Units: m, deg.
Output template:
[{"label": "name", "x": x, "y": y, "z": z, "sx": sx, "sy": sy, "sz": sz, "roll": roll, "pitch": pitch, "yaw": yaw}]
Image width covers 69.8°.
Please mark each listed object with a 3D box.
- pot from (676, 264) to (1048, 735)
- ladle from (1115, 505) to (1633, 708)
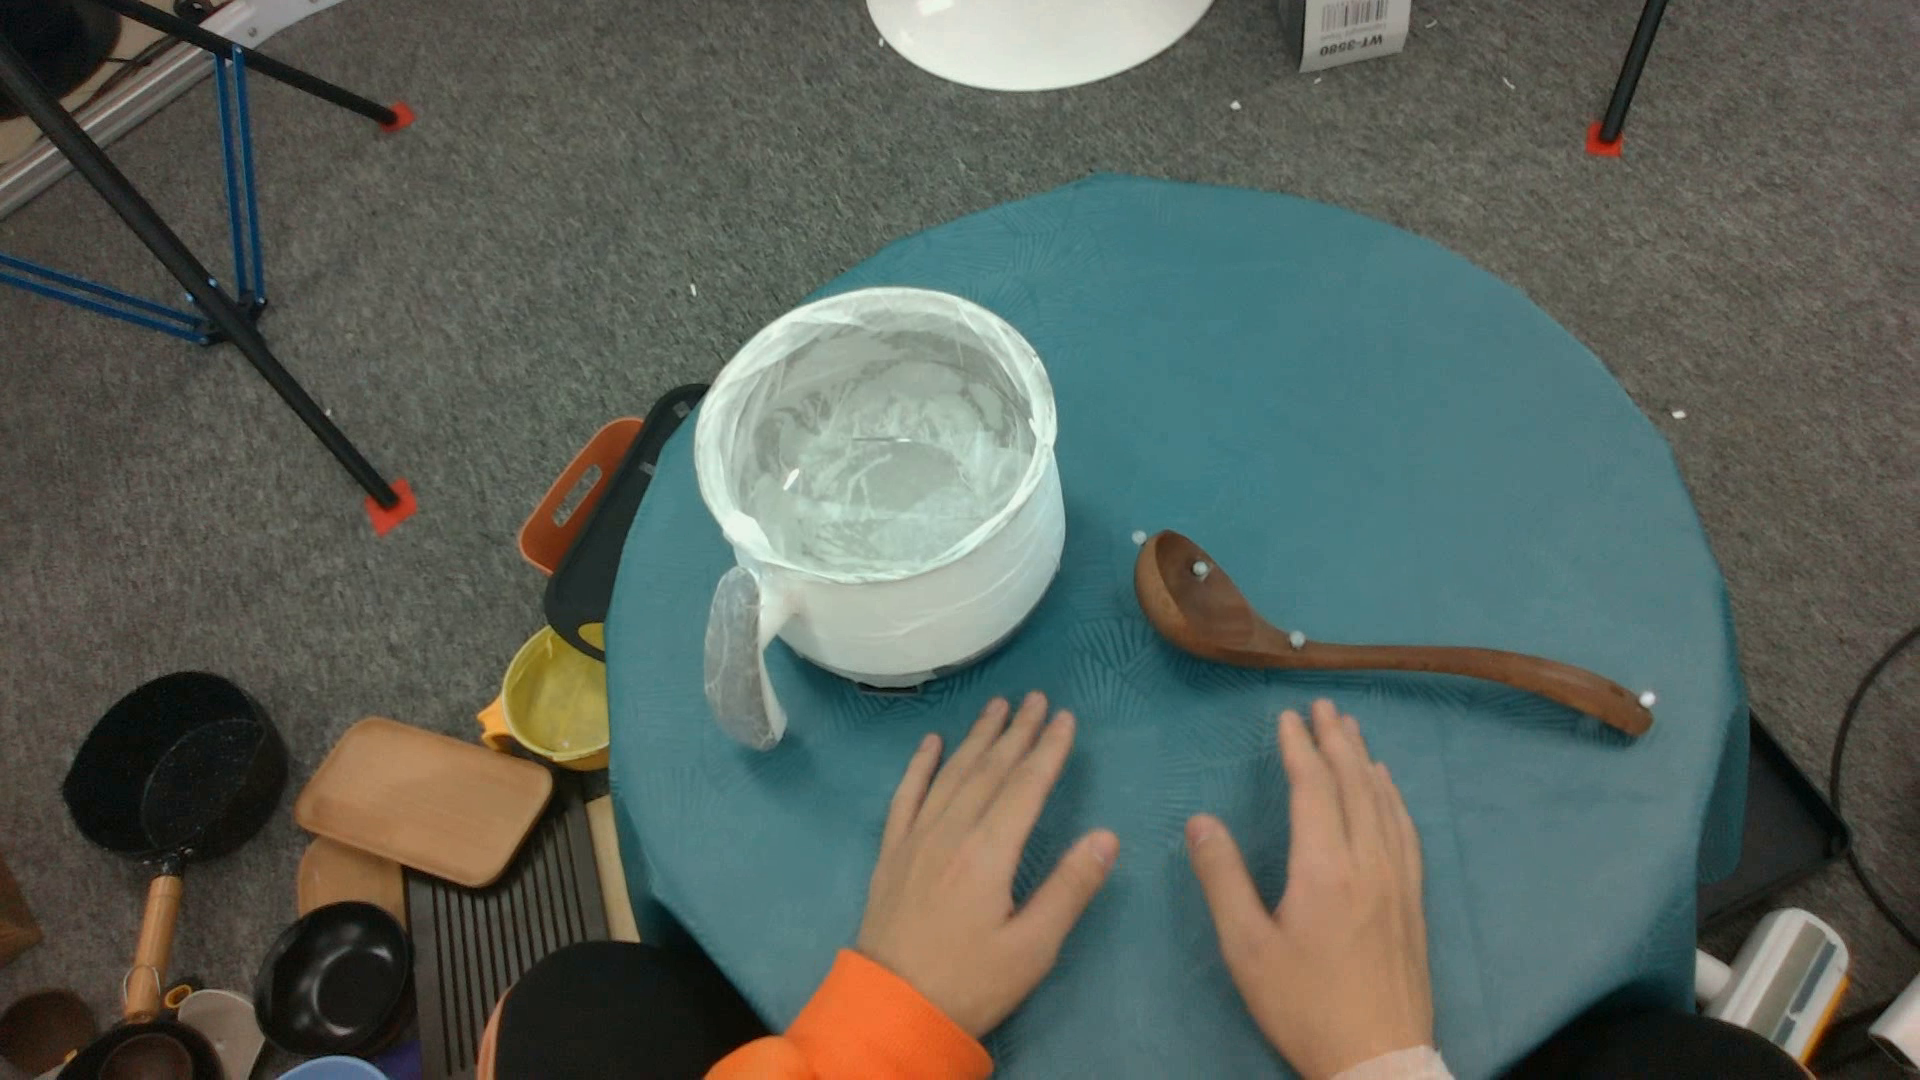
[{"label": "pot", "x": -0.059, "y": -0.012, "z": 0.706, "sx": 0.178, "sy": 0.136, "sz": 0.234, "roll": 26, "pitch": 66, "yaw": 21}, {"label": "ladle", "x": 0.206, "y": 0.034, "z": 0.693, "sx": 0.260, "sy": 0.065, "sz": 0.077, "roll": 9, "pitch": 35, "yaw": 12}]
